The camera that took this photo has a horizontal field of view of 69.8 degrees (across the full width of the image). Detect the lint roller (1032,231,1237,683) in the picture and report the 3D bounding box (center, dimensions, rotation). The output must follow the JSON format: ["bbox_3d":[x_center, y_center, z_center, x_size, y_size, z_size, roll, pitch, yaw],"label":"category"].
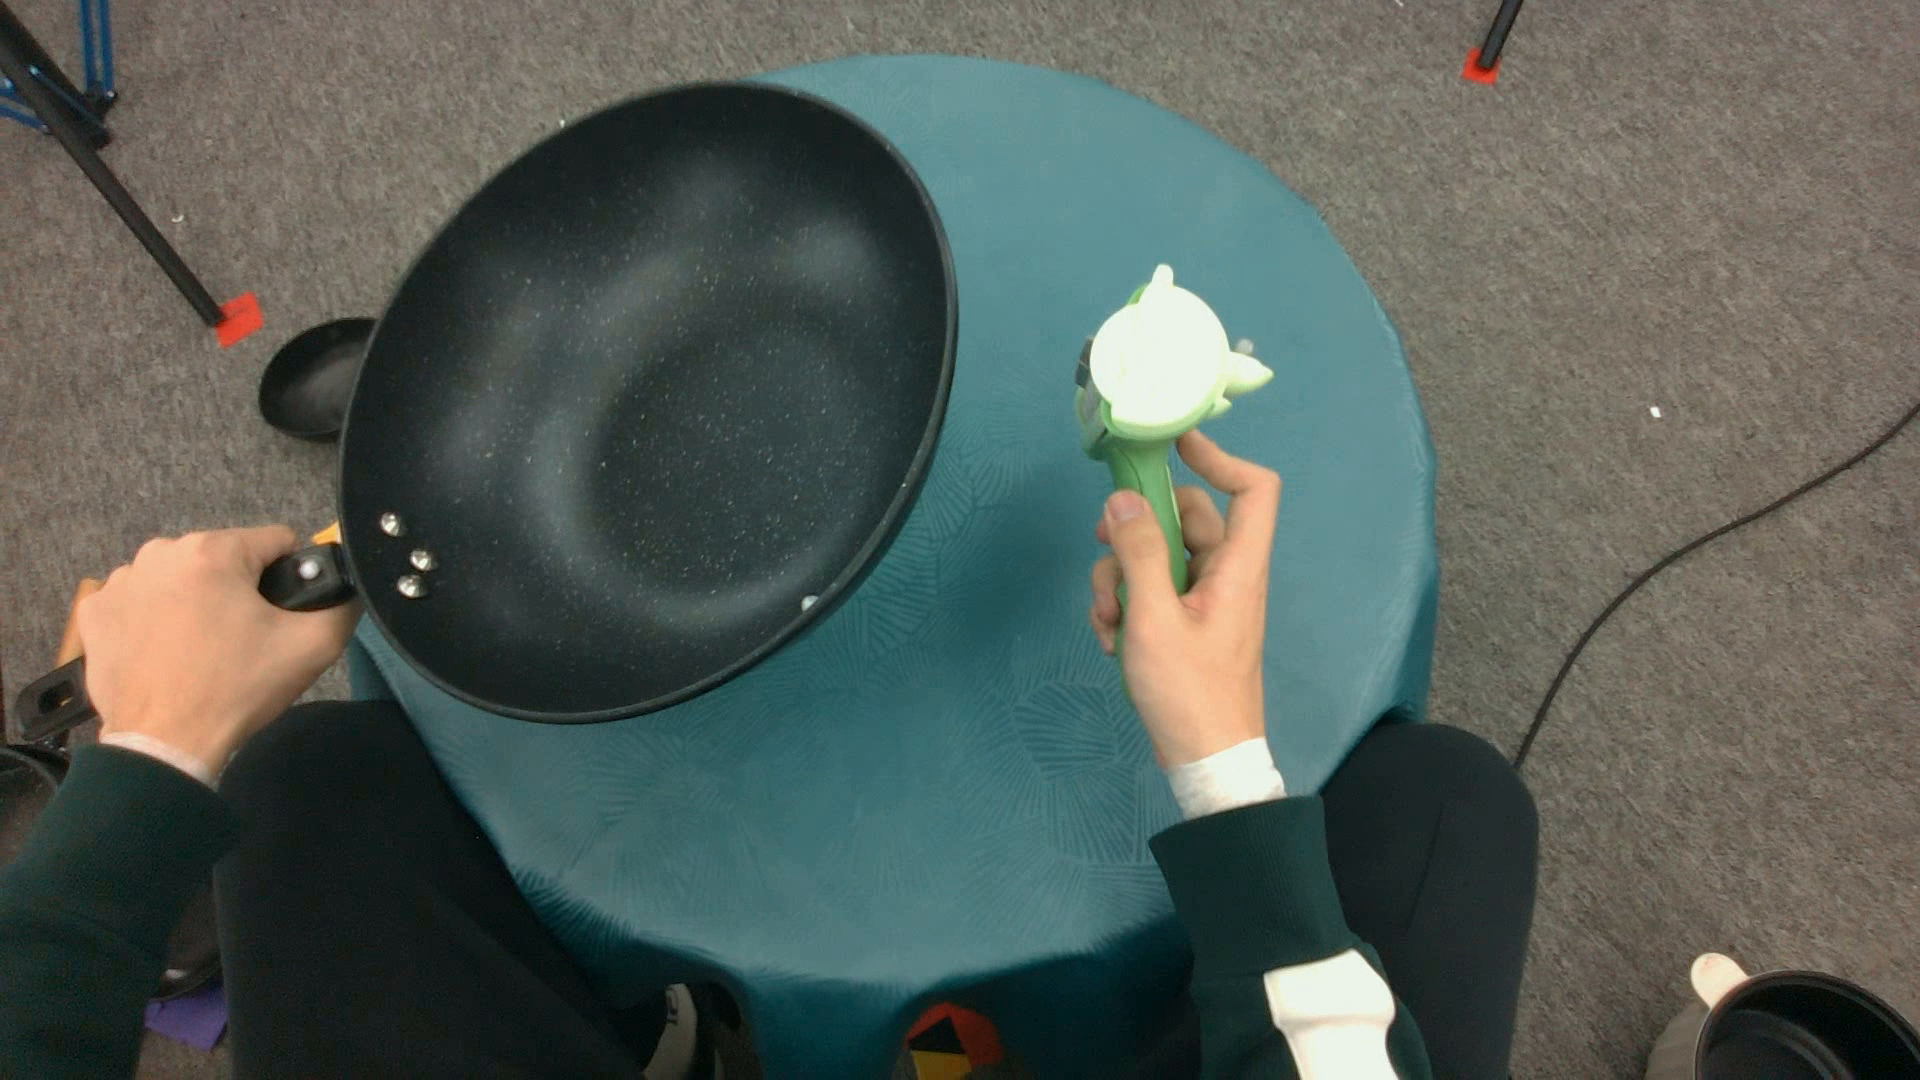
[{"bbox_3d":[0.083,-0.032,0.617,0.082,0.198,0.183,-13,92,1],"label":"lint roller"}]

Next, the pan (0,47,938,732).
[{"bbox_3d":[-0.216,-0.031,0.632,0.476,0.111,0.311,-32,62,6],"label":"pan"}]
